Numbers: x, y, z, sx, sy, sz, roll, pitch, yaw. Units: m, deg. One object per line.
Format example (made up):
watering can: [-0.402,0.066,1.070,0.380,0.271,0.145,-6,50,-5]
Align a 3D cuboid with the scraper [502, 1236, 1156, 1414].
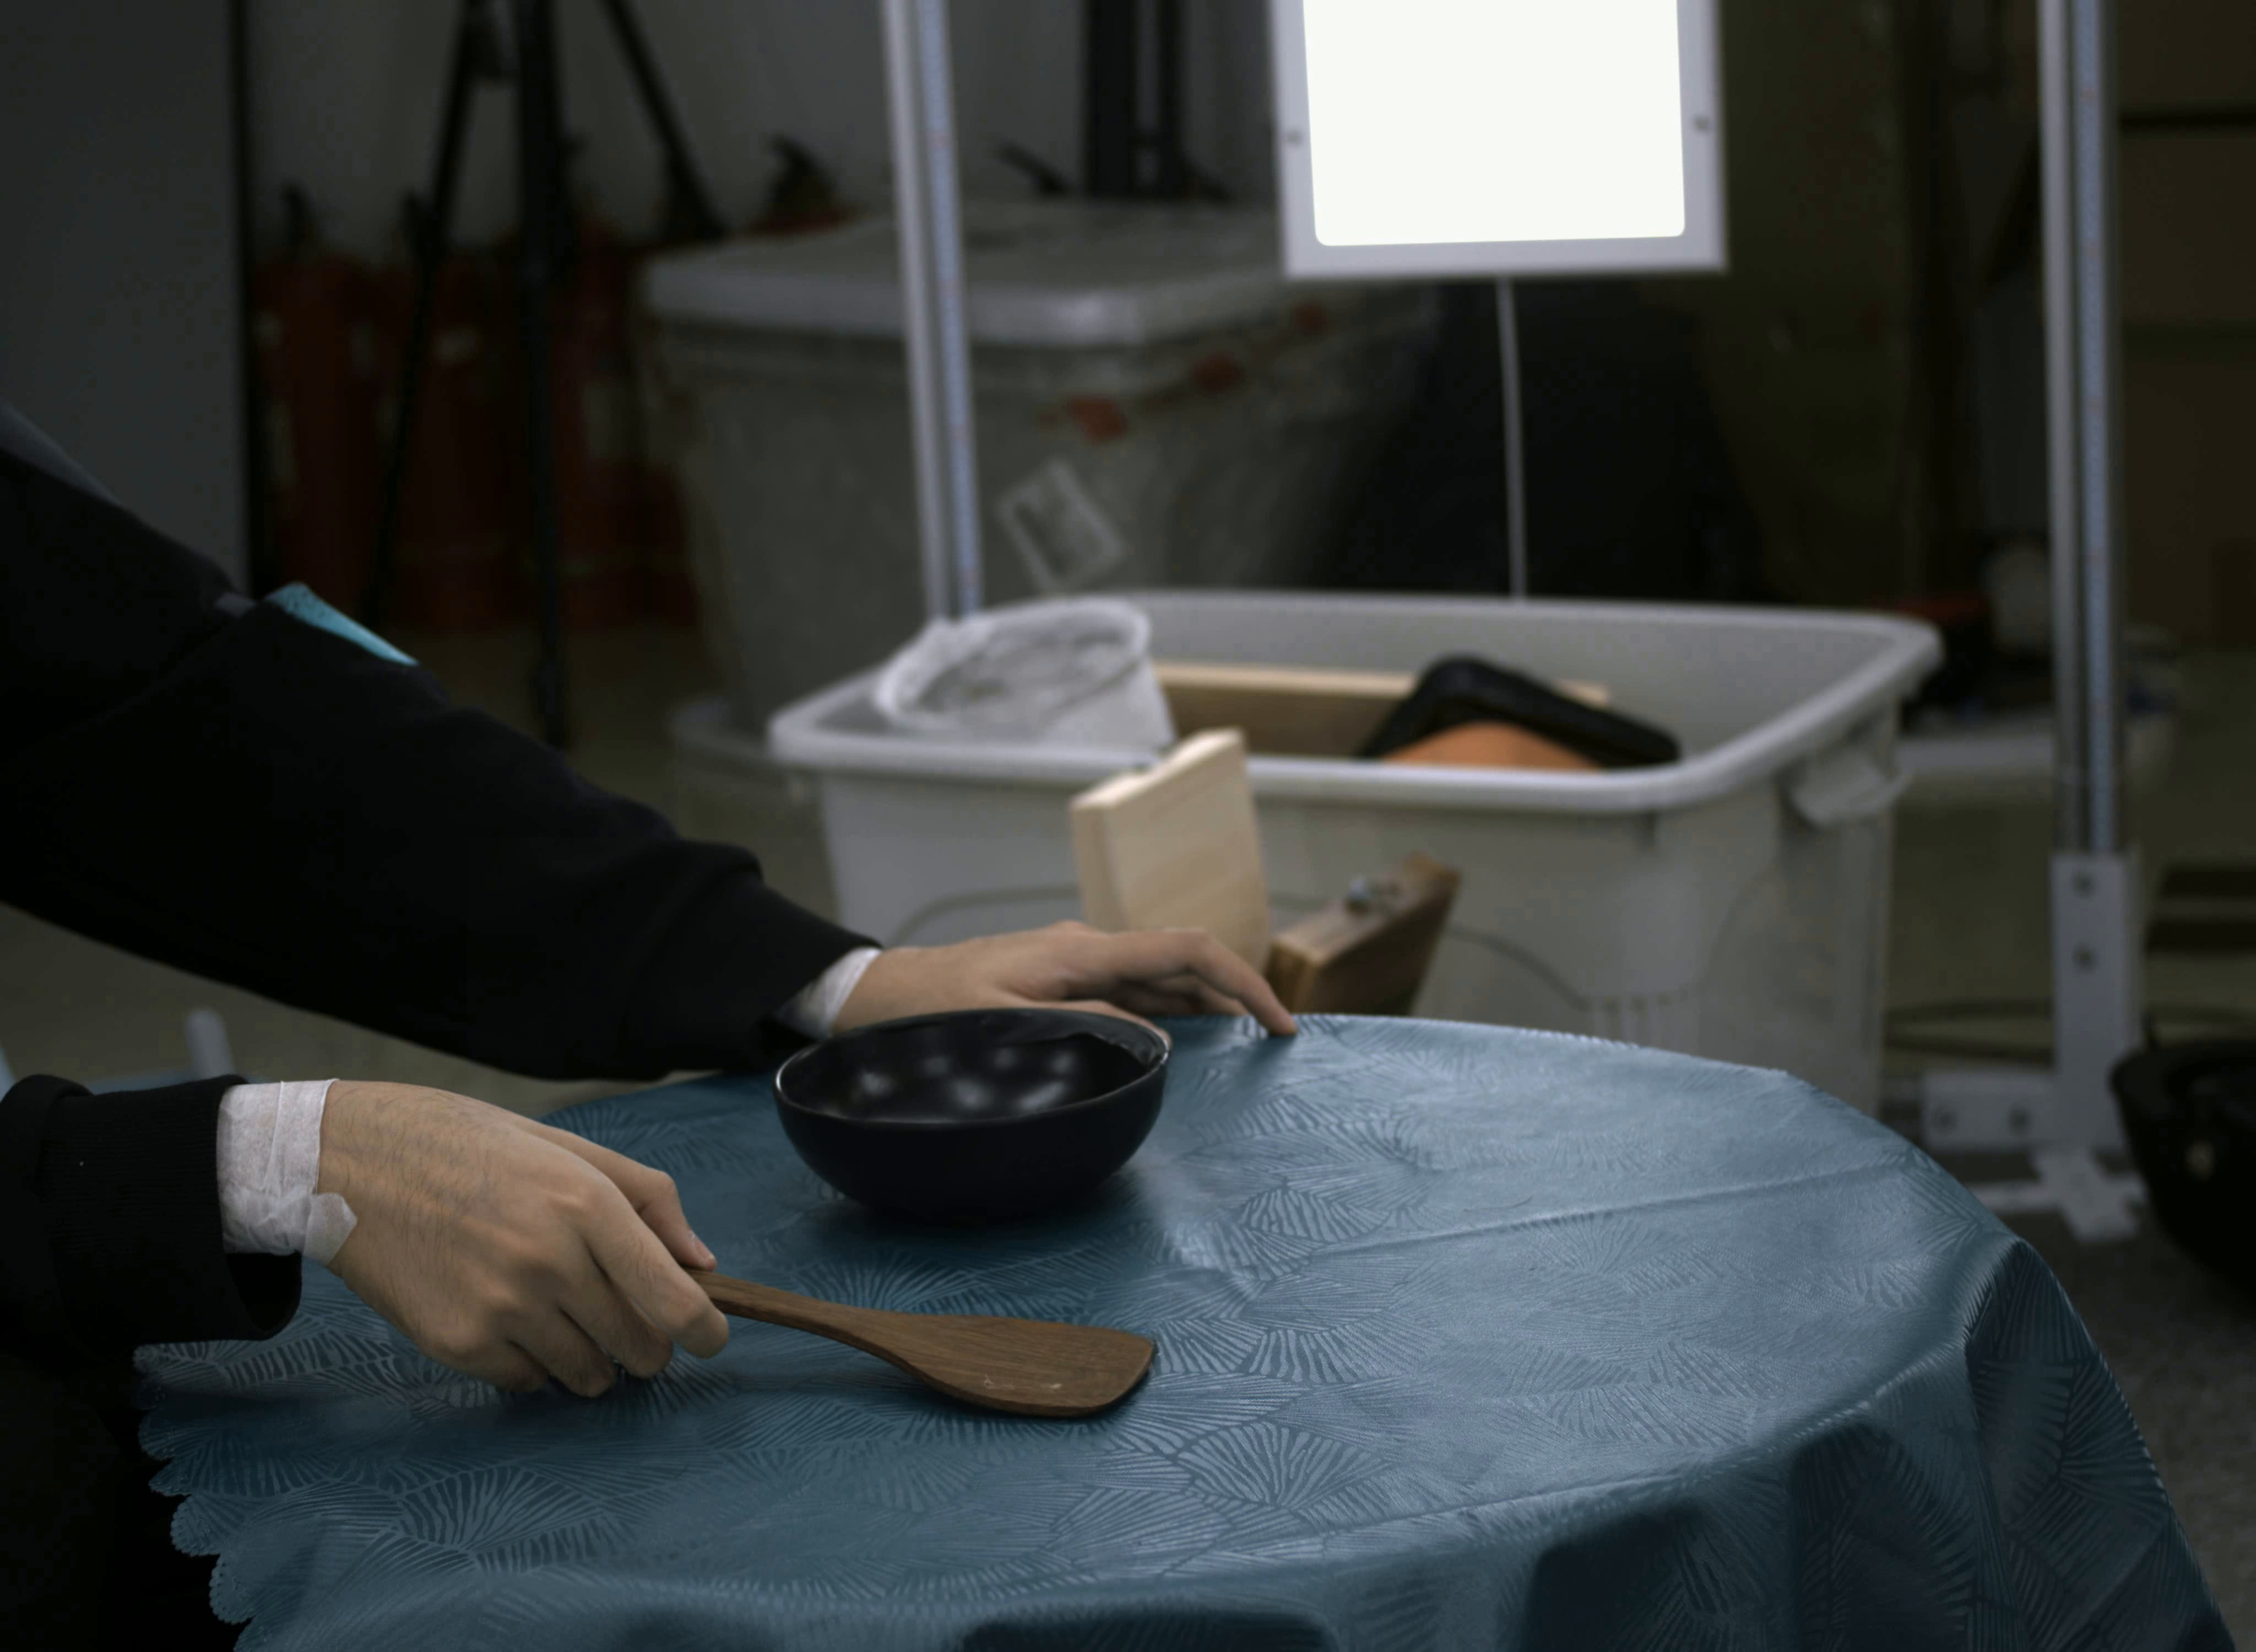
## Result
scraper: [-0.096,0.154,1.734,0.213,0.011,0.074,11,15,15]

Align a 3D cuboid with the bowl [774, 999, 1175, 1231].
bowl: [-0.051,0.105,1.903,0.140,0.050,0.140,-5,16,0]
